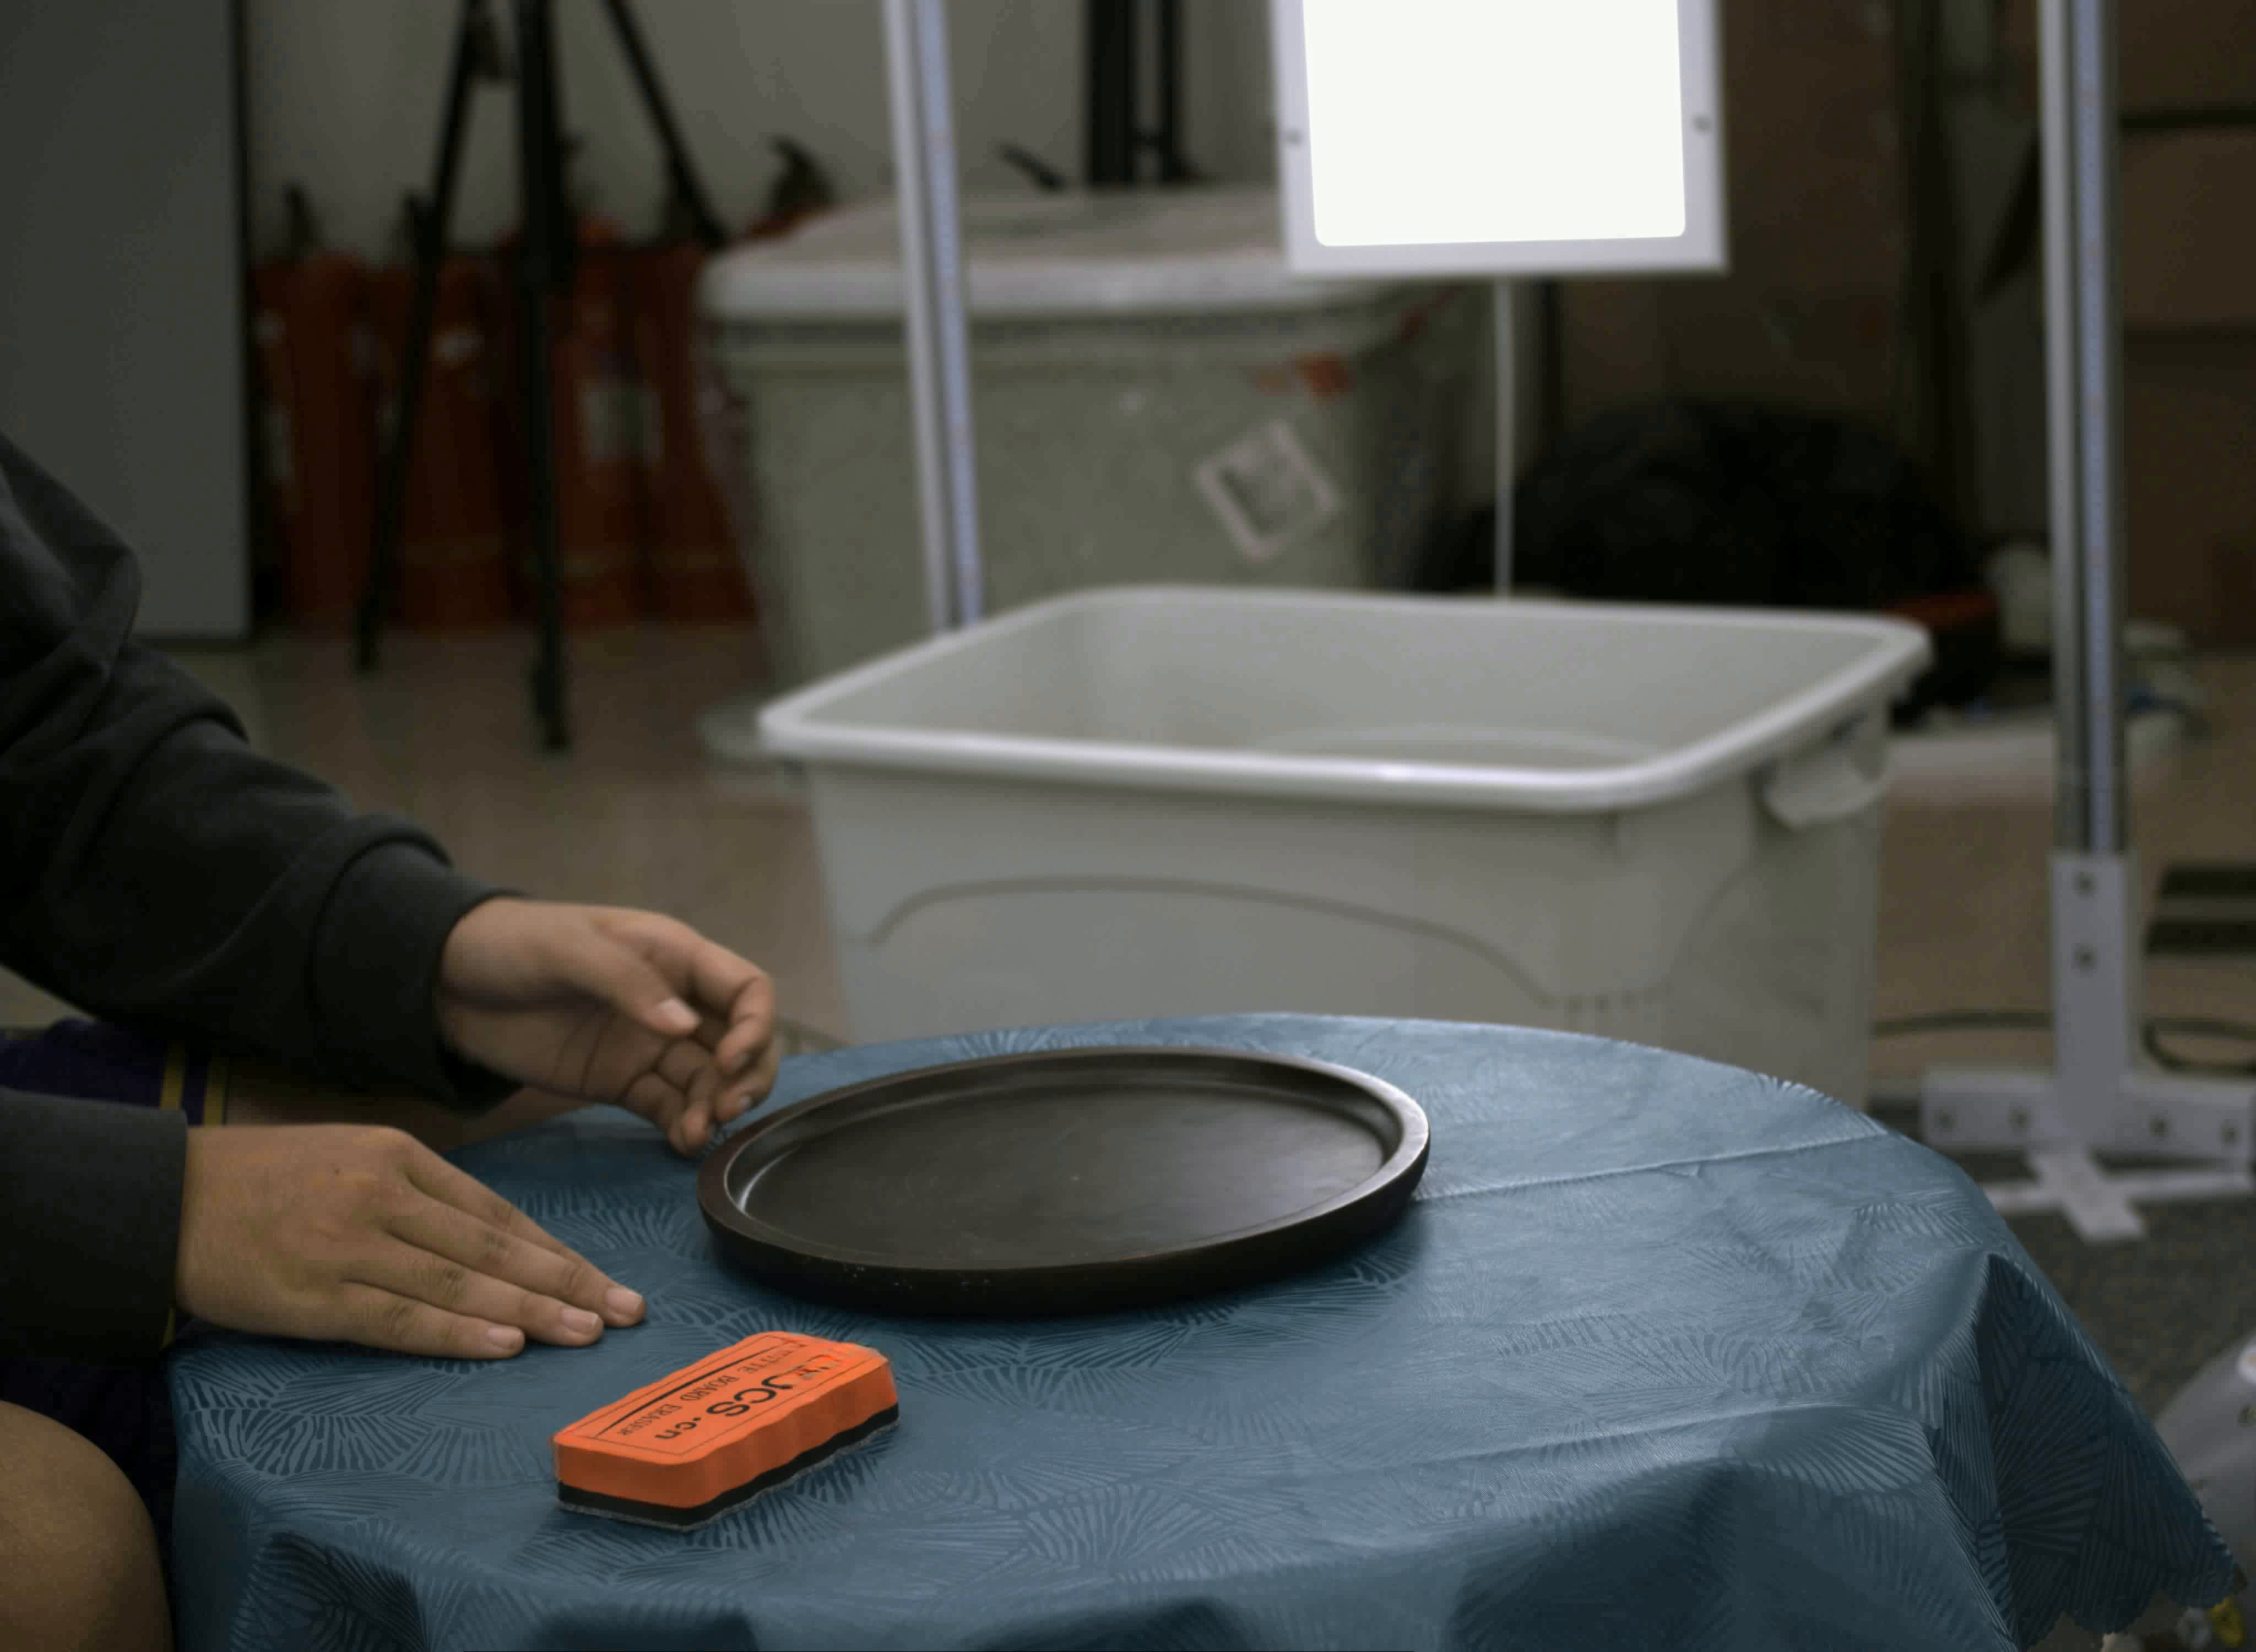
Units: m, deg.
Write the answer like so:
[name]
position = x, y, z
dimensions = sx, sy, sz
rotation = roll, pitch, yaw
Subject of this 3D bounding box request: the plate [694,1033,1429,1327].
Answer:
[plate]
position = -0.022, 0.121, 1.882
dimensions = 0.254, 0.029, 0.254
rotation = -5, 15, 0

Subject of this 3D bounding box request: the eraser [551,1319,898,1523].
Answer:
[eraser]
position = -0.121, 0.179, 1.665
dimensions = 0.060, 0.023, 0.105
rotation = 5, 18, 36
